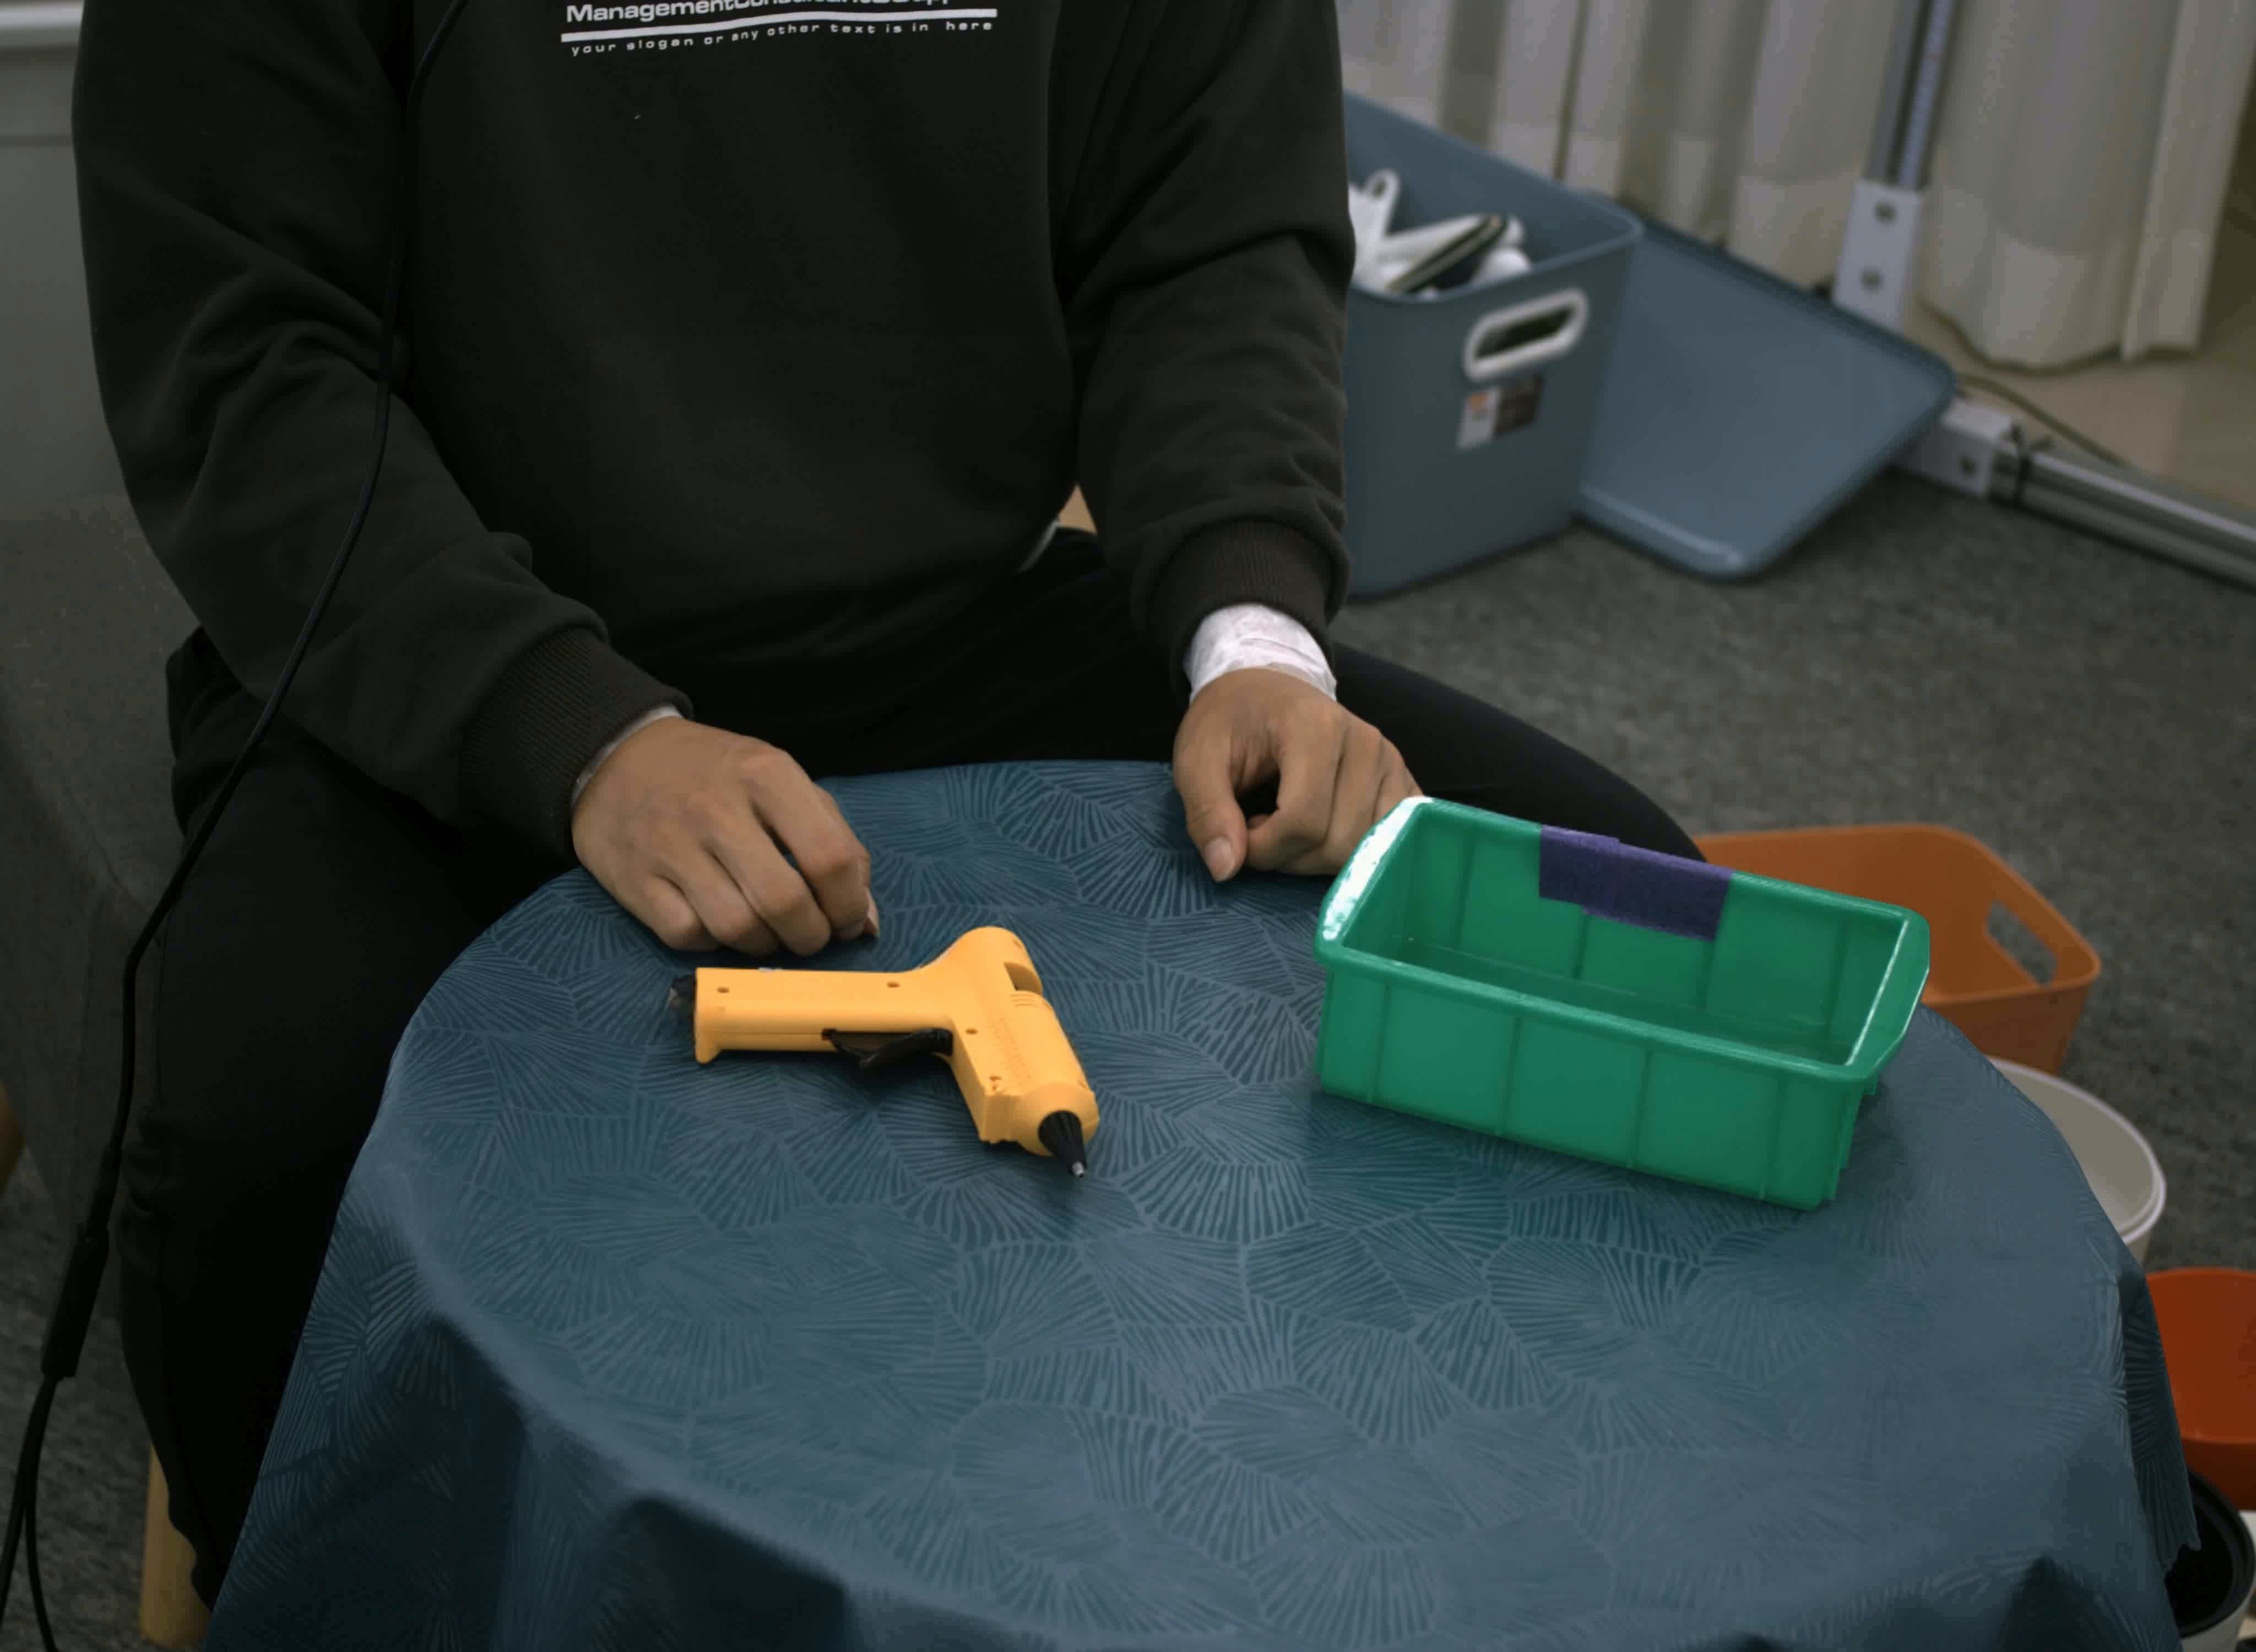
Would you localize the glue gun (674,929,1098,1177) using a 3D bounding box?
[{"bbox_3d":[-0.076,0.086,1.840,0.132,0.031,0.152,-5,28,-18],"label":"glue gun"}]

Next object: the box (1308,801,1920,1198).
[{"bbox_3d":[0.171,0.063,1.899,0.210,0.065,0.139,11,25,13],"label":"box"}]
